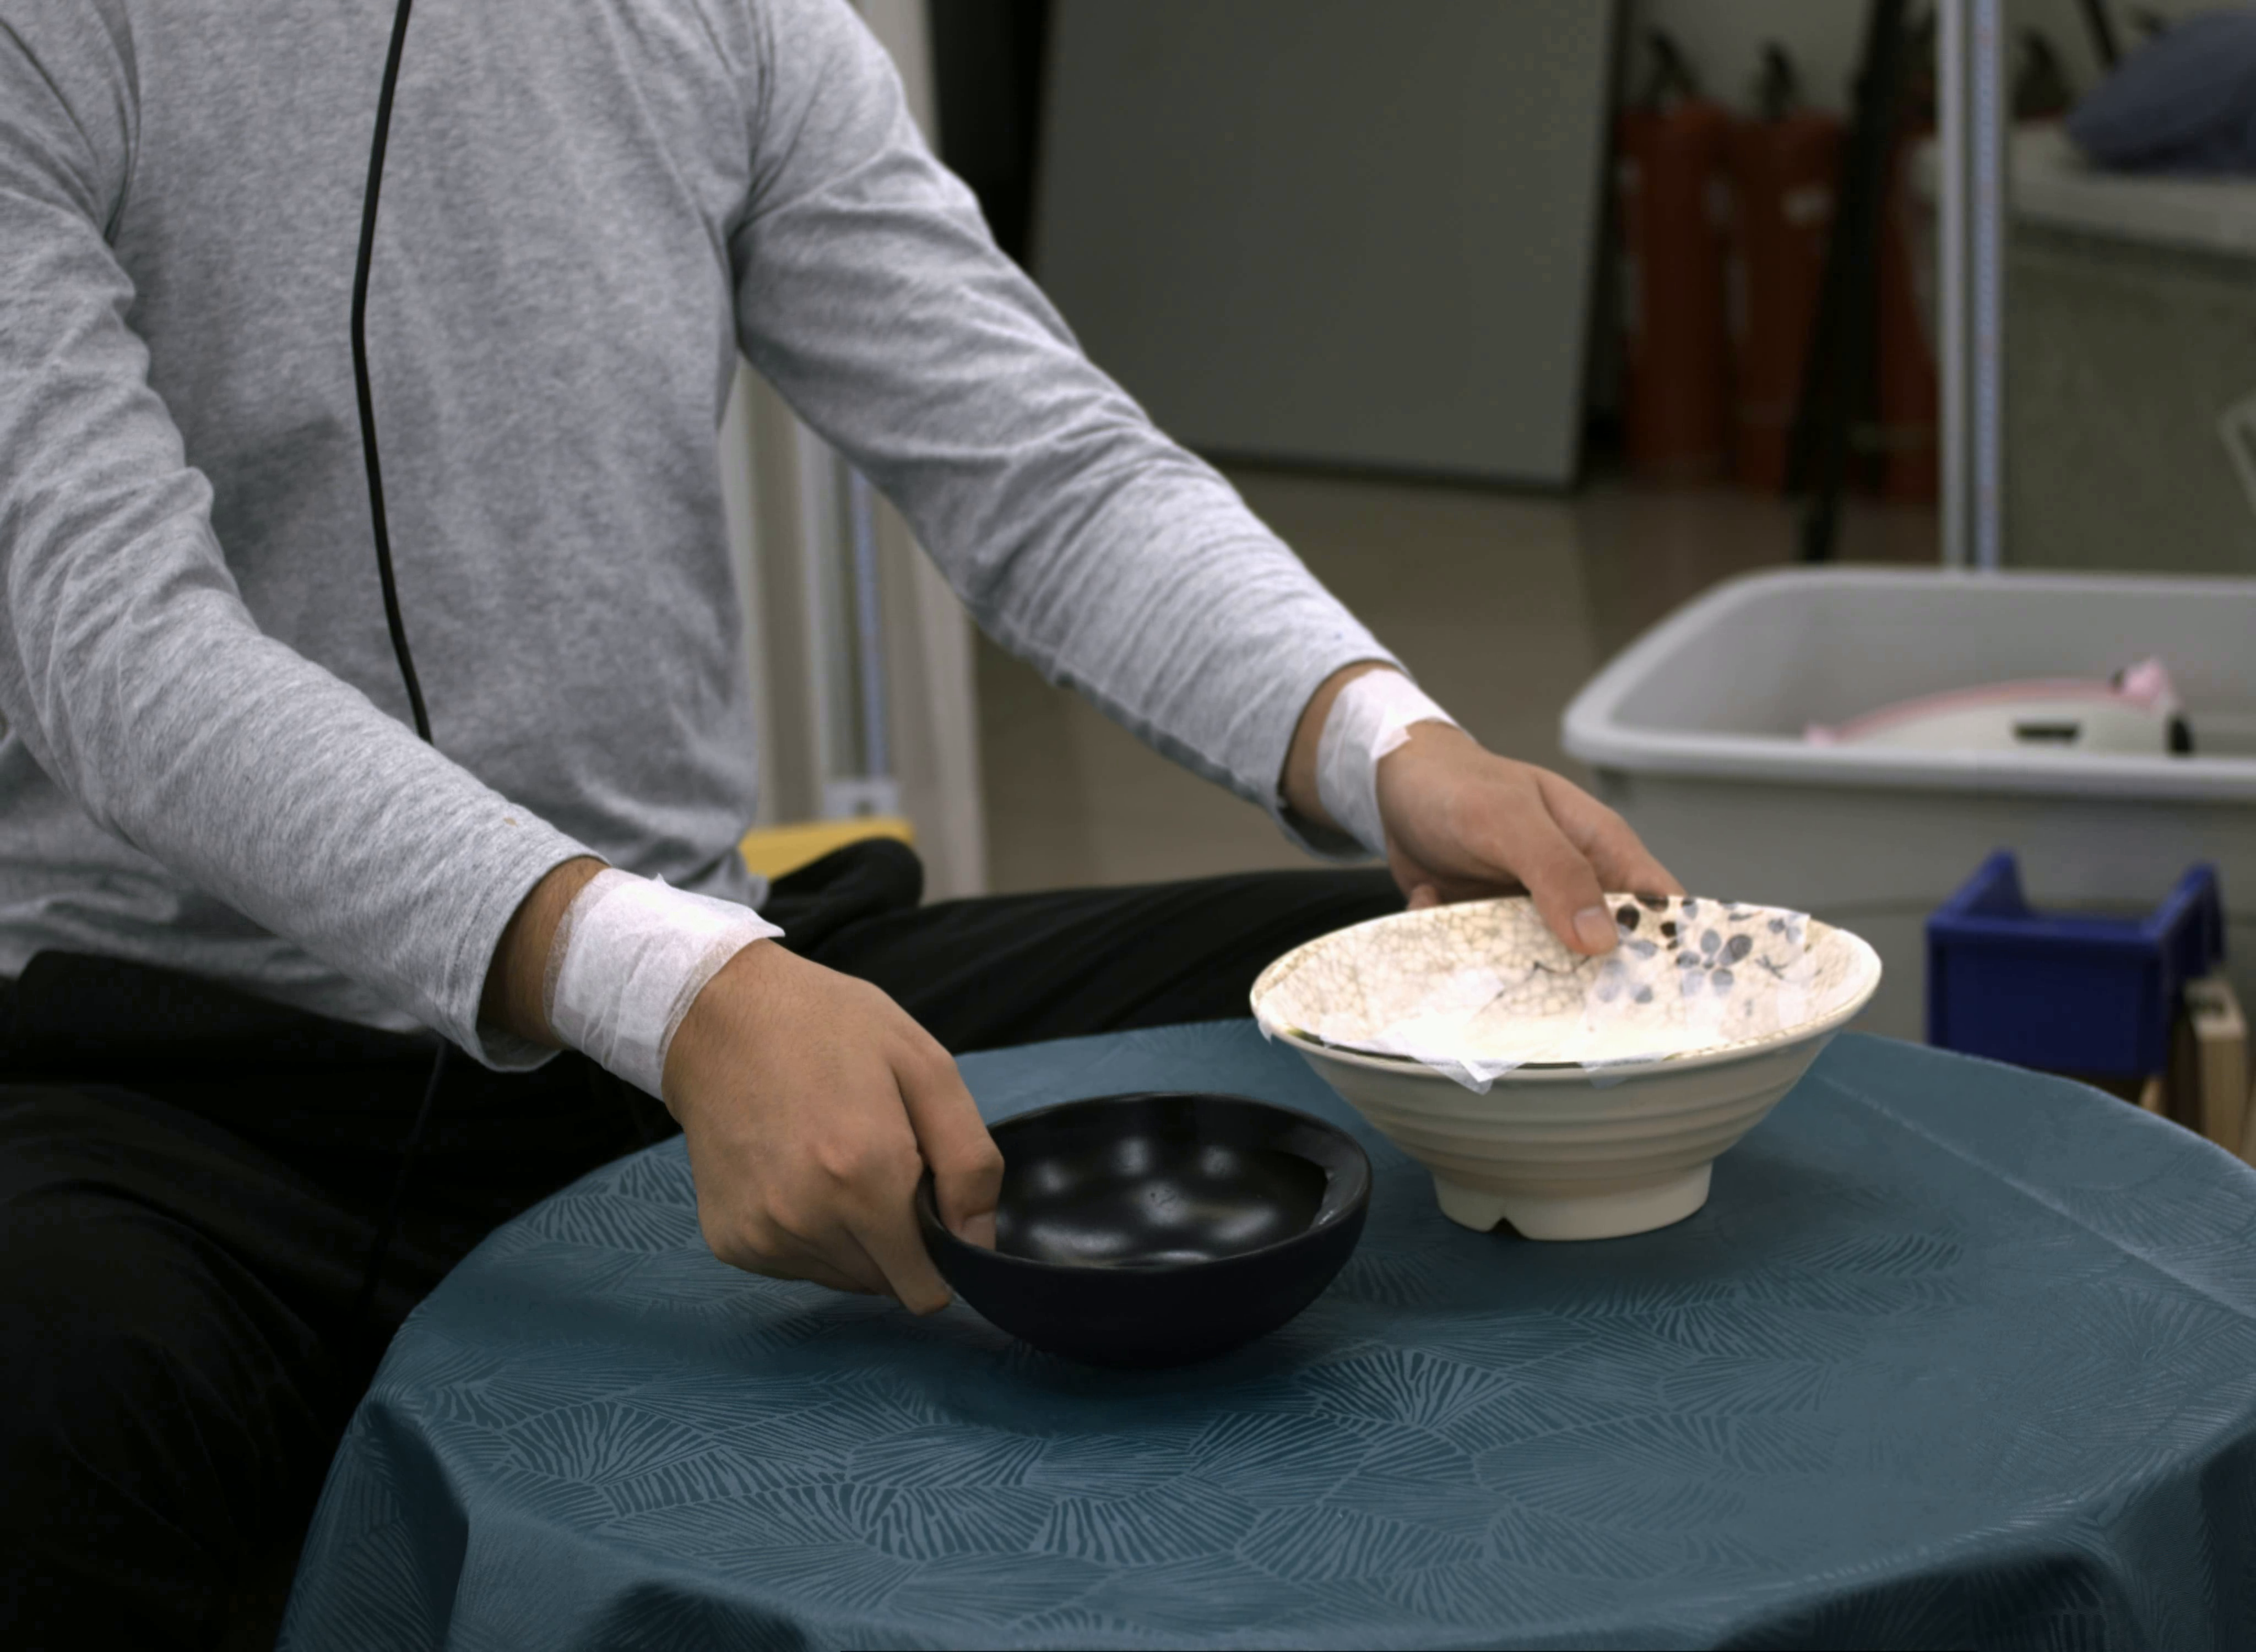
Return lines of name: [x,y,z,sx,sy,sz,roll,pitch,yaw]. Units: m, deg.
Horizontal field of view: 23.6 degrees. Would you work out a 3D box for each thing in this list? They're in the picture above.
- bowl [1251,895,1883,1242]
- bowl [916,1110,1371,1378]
bowl: [0.141,0.083,1.723,0.201,0.079,0.204,-4,13,0]
bowl: [0.006,0.130,1.622,0.138,0.050,0.140,-5,15,0]
